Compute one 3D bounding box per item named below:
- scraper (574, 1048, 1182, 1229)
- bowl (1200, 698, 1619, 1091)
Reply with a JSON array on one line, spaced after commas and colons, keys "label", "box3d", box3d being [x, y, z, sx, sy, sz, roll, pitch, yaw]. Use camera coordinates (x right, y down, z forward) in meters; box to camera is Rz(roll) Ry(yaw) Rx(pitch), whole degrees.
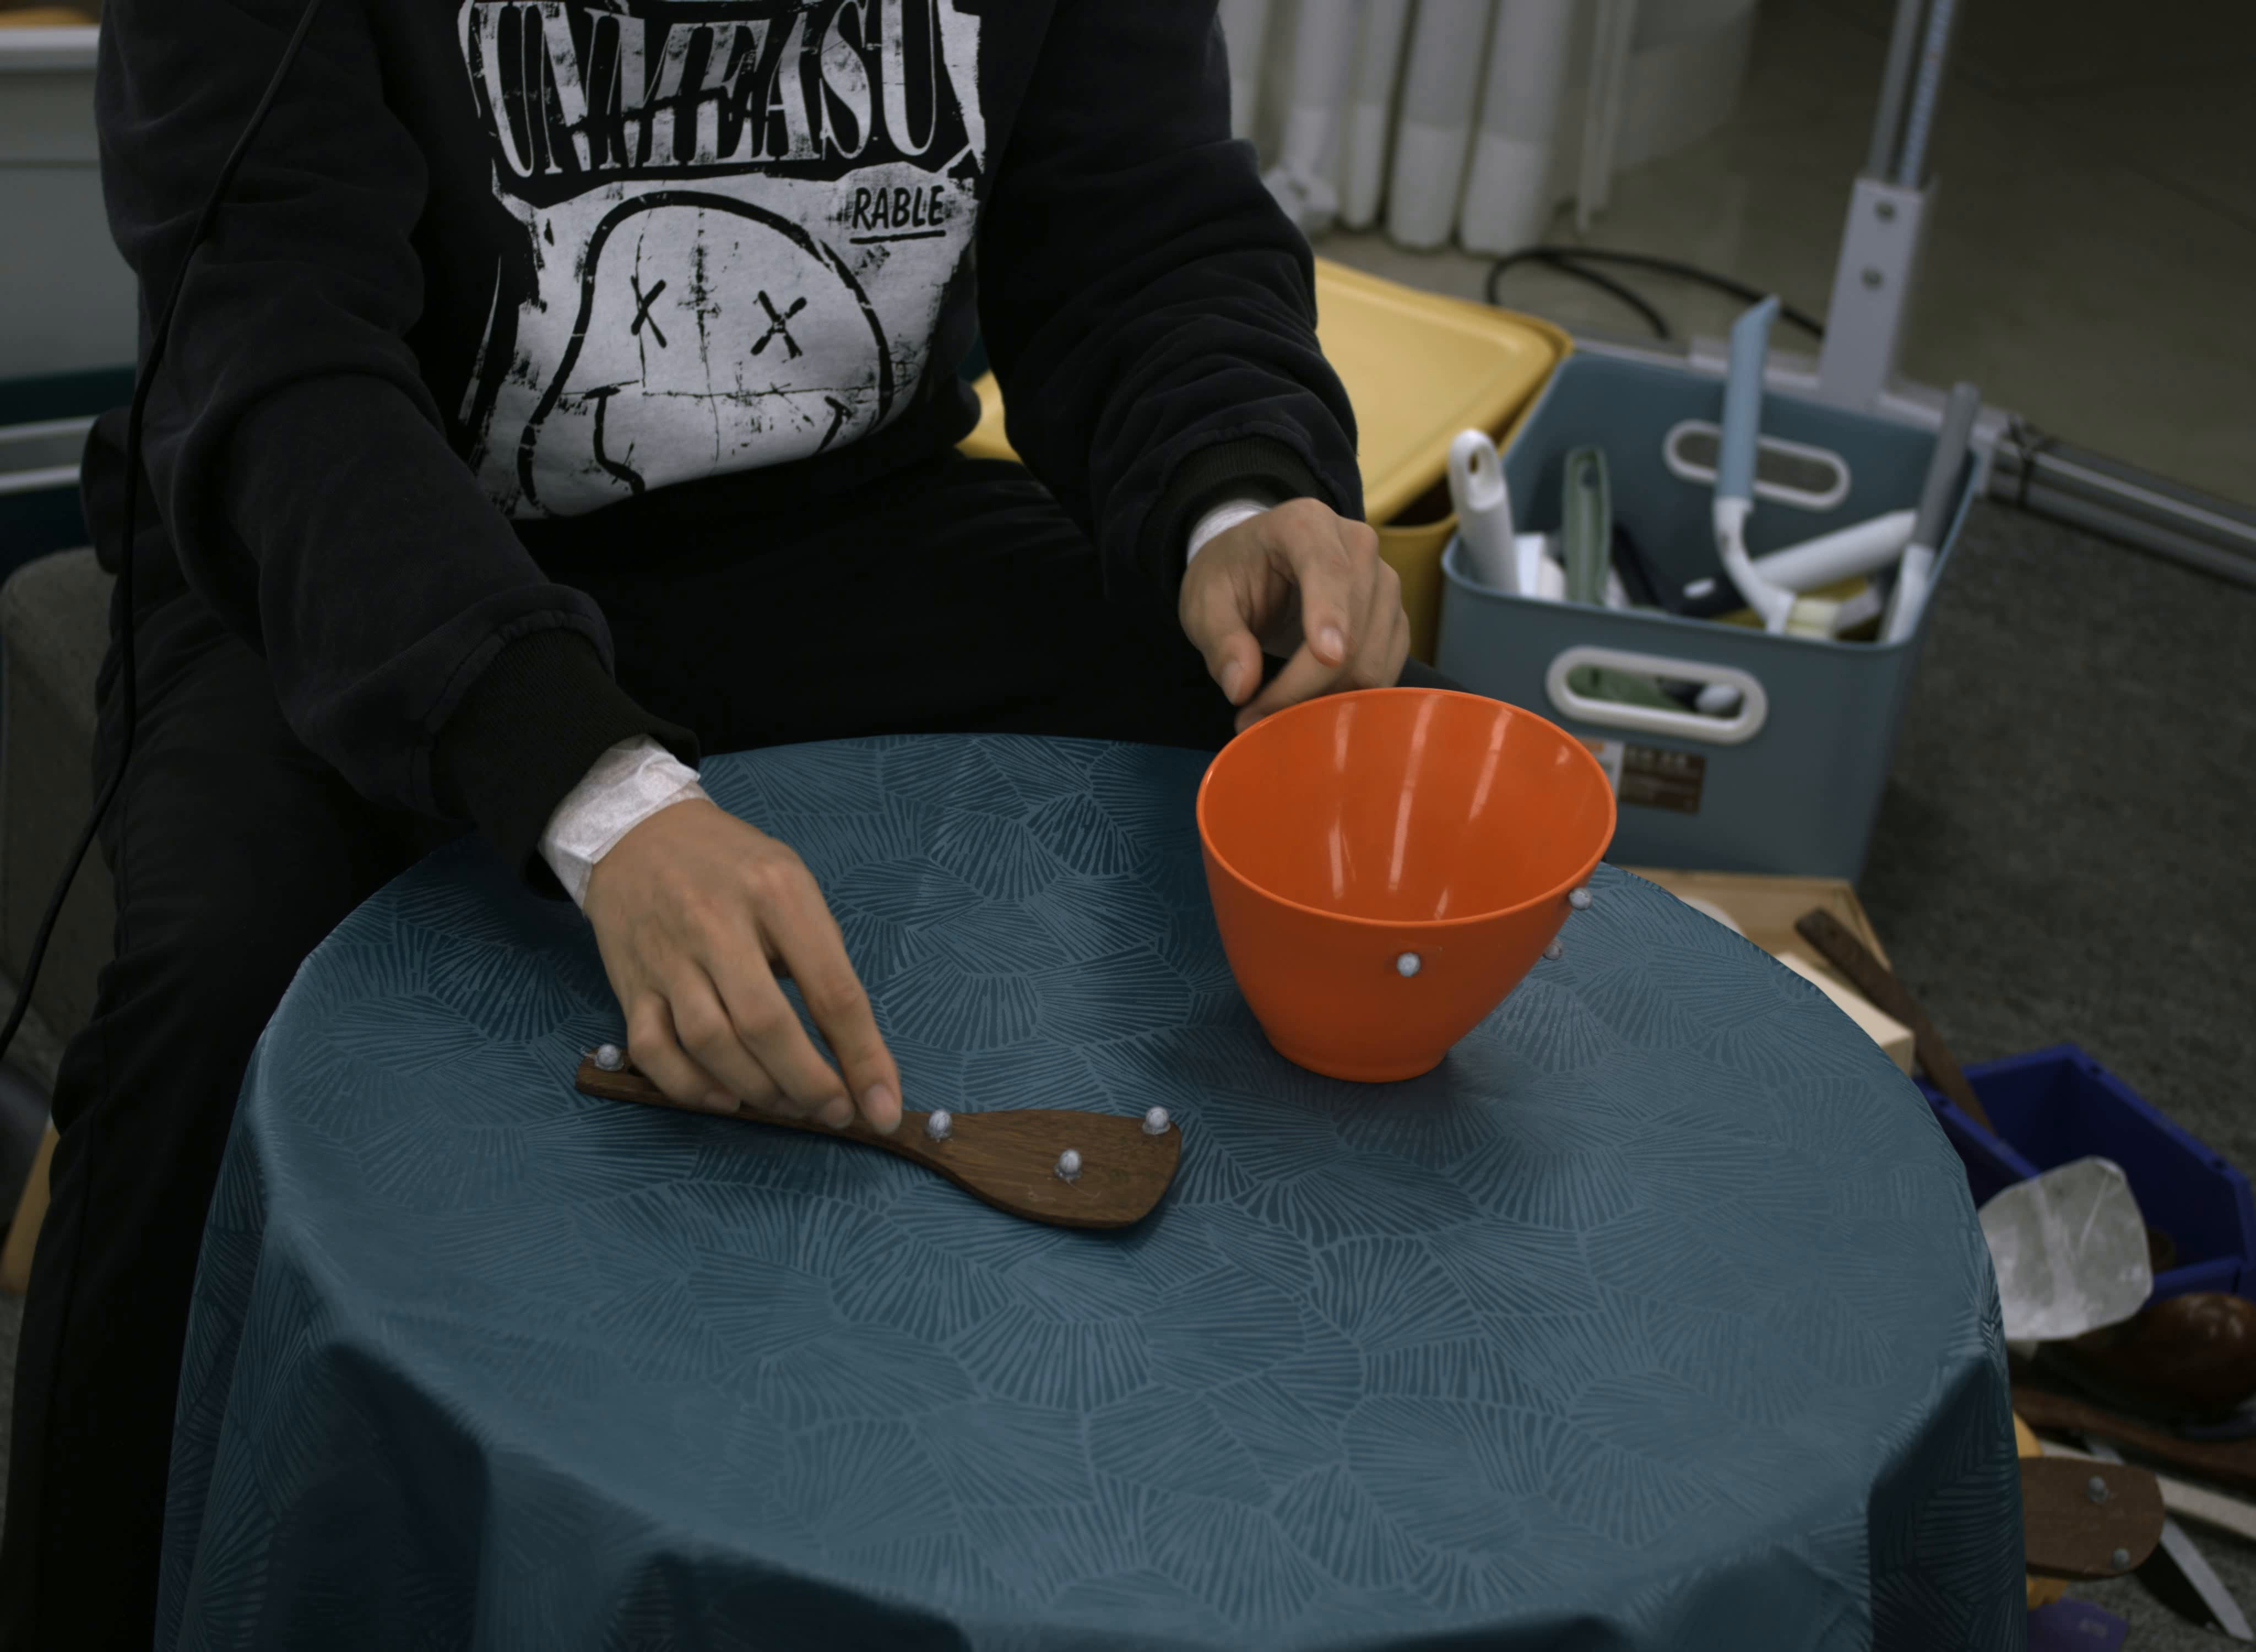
[{"label": "scraper", "box3d": [-0.087, 0.102, 1.815, 0.211, 0.011, 0.076, 11, 26, 10]}, {"label": "bowl", "box3d": [0.095, 0.030, 1.896, 0.147, 0.104, 0.149, 5, 27, -3]}]
